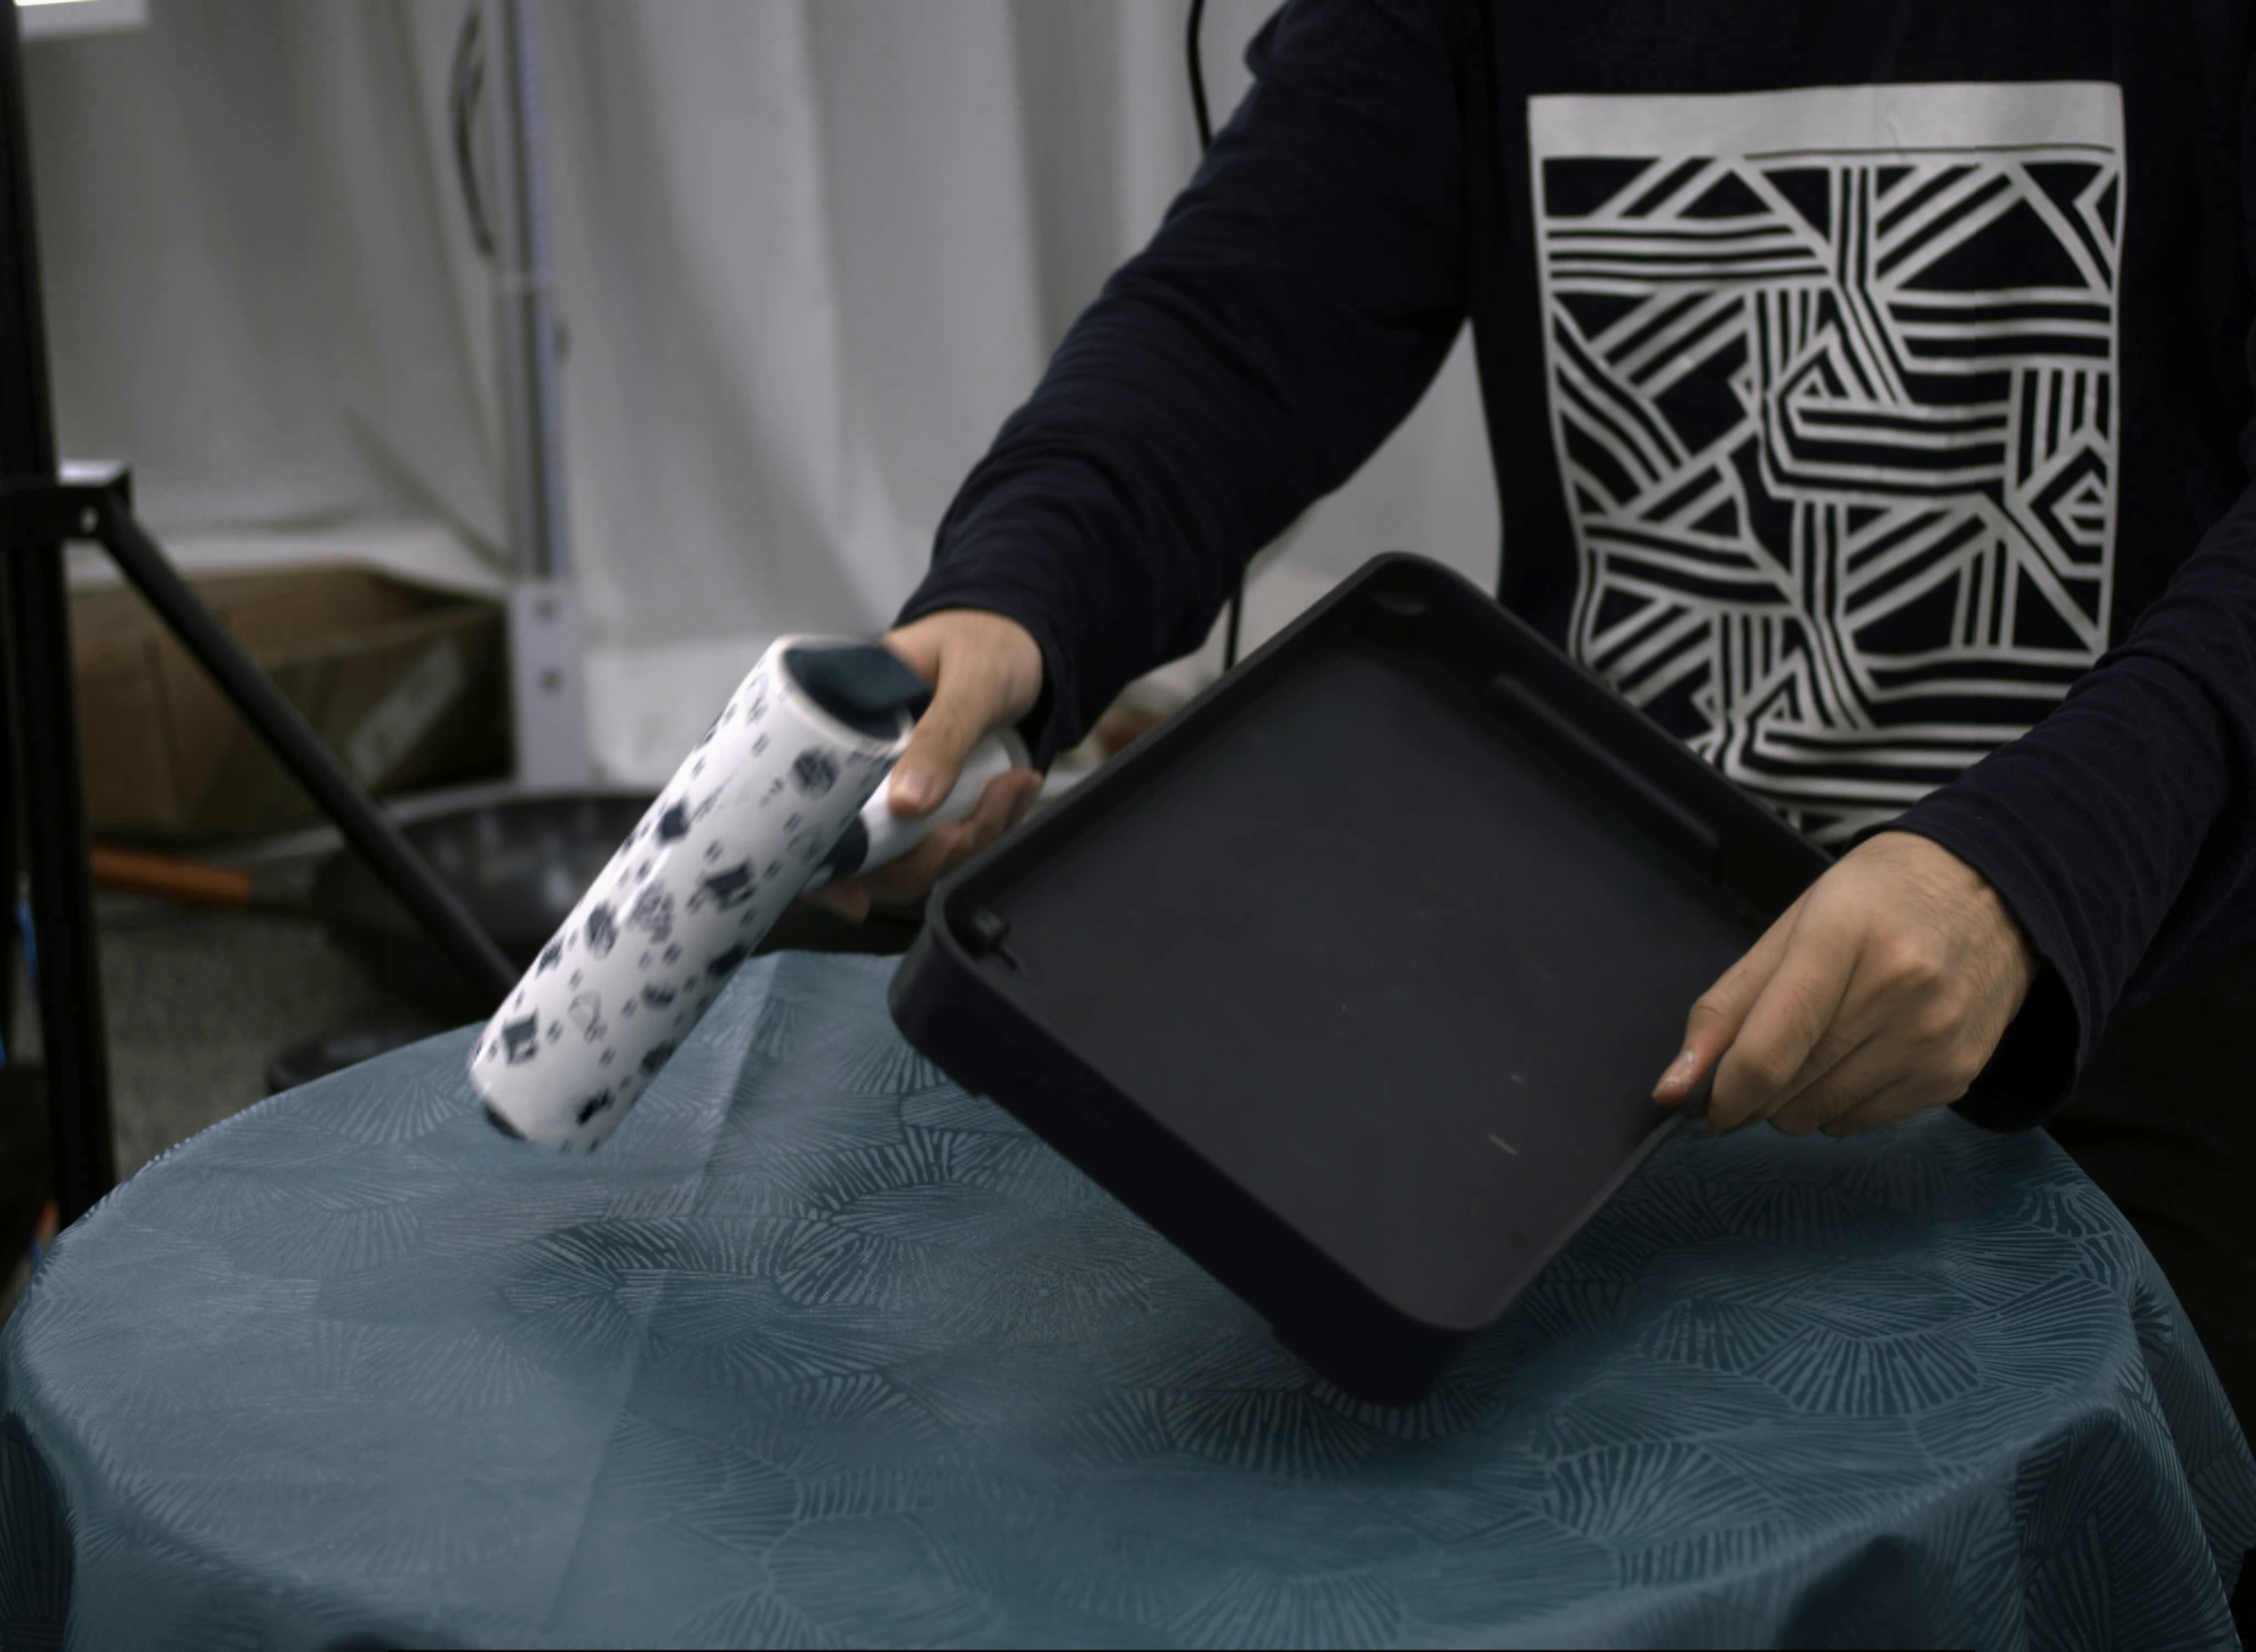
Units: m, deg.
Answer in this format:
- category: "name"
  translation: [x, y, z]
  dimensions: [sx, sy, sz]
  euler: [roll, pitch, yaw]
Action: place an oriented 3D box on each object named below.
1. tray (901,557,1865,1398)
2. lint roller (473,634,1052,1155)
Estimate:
- category: "tray"
  translation: [0.078, 0.033, 1.466]
  dimensions: [0.186, 0.037, 0.313]
  euler: [37, 32, 11]
- category: "lint roller"
  translation: [-0.088, 0.003, 1.596]
  dimensions: [0.051, 0.177, 0.243]
  euler: [42, 24, 10]
